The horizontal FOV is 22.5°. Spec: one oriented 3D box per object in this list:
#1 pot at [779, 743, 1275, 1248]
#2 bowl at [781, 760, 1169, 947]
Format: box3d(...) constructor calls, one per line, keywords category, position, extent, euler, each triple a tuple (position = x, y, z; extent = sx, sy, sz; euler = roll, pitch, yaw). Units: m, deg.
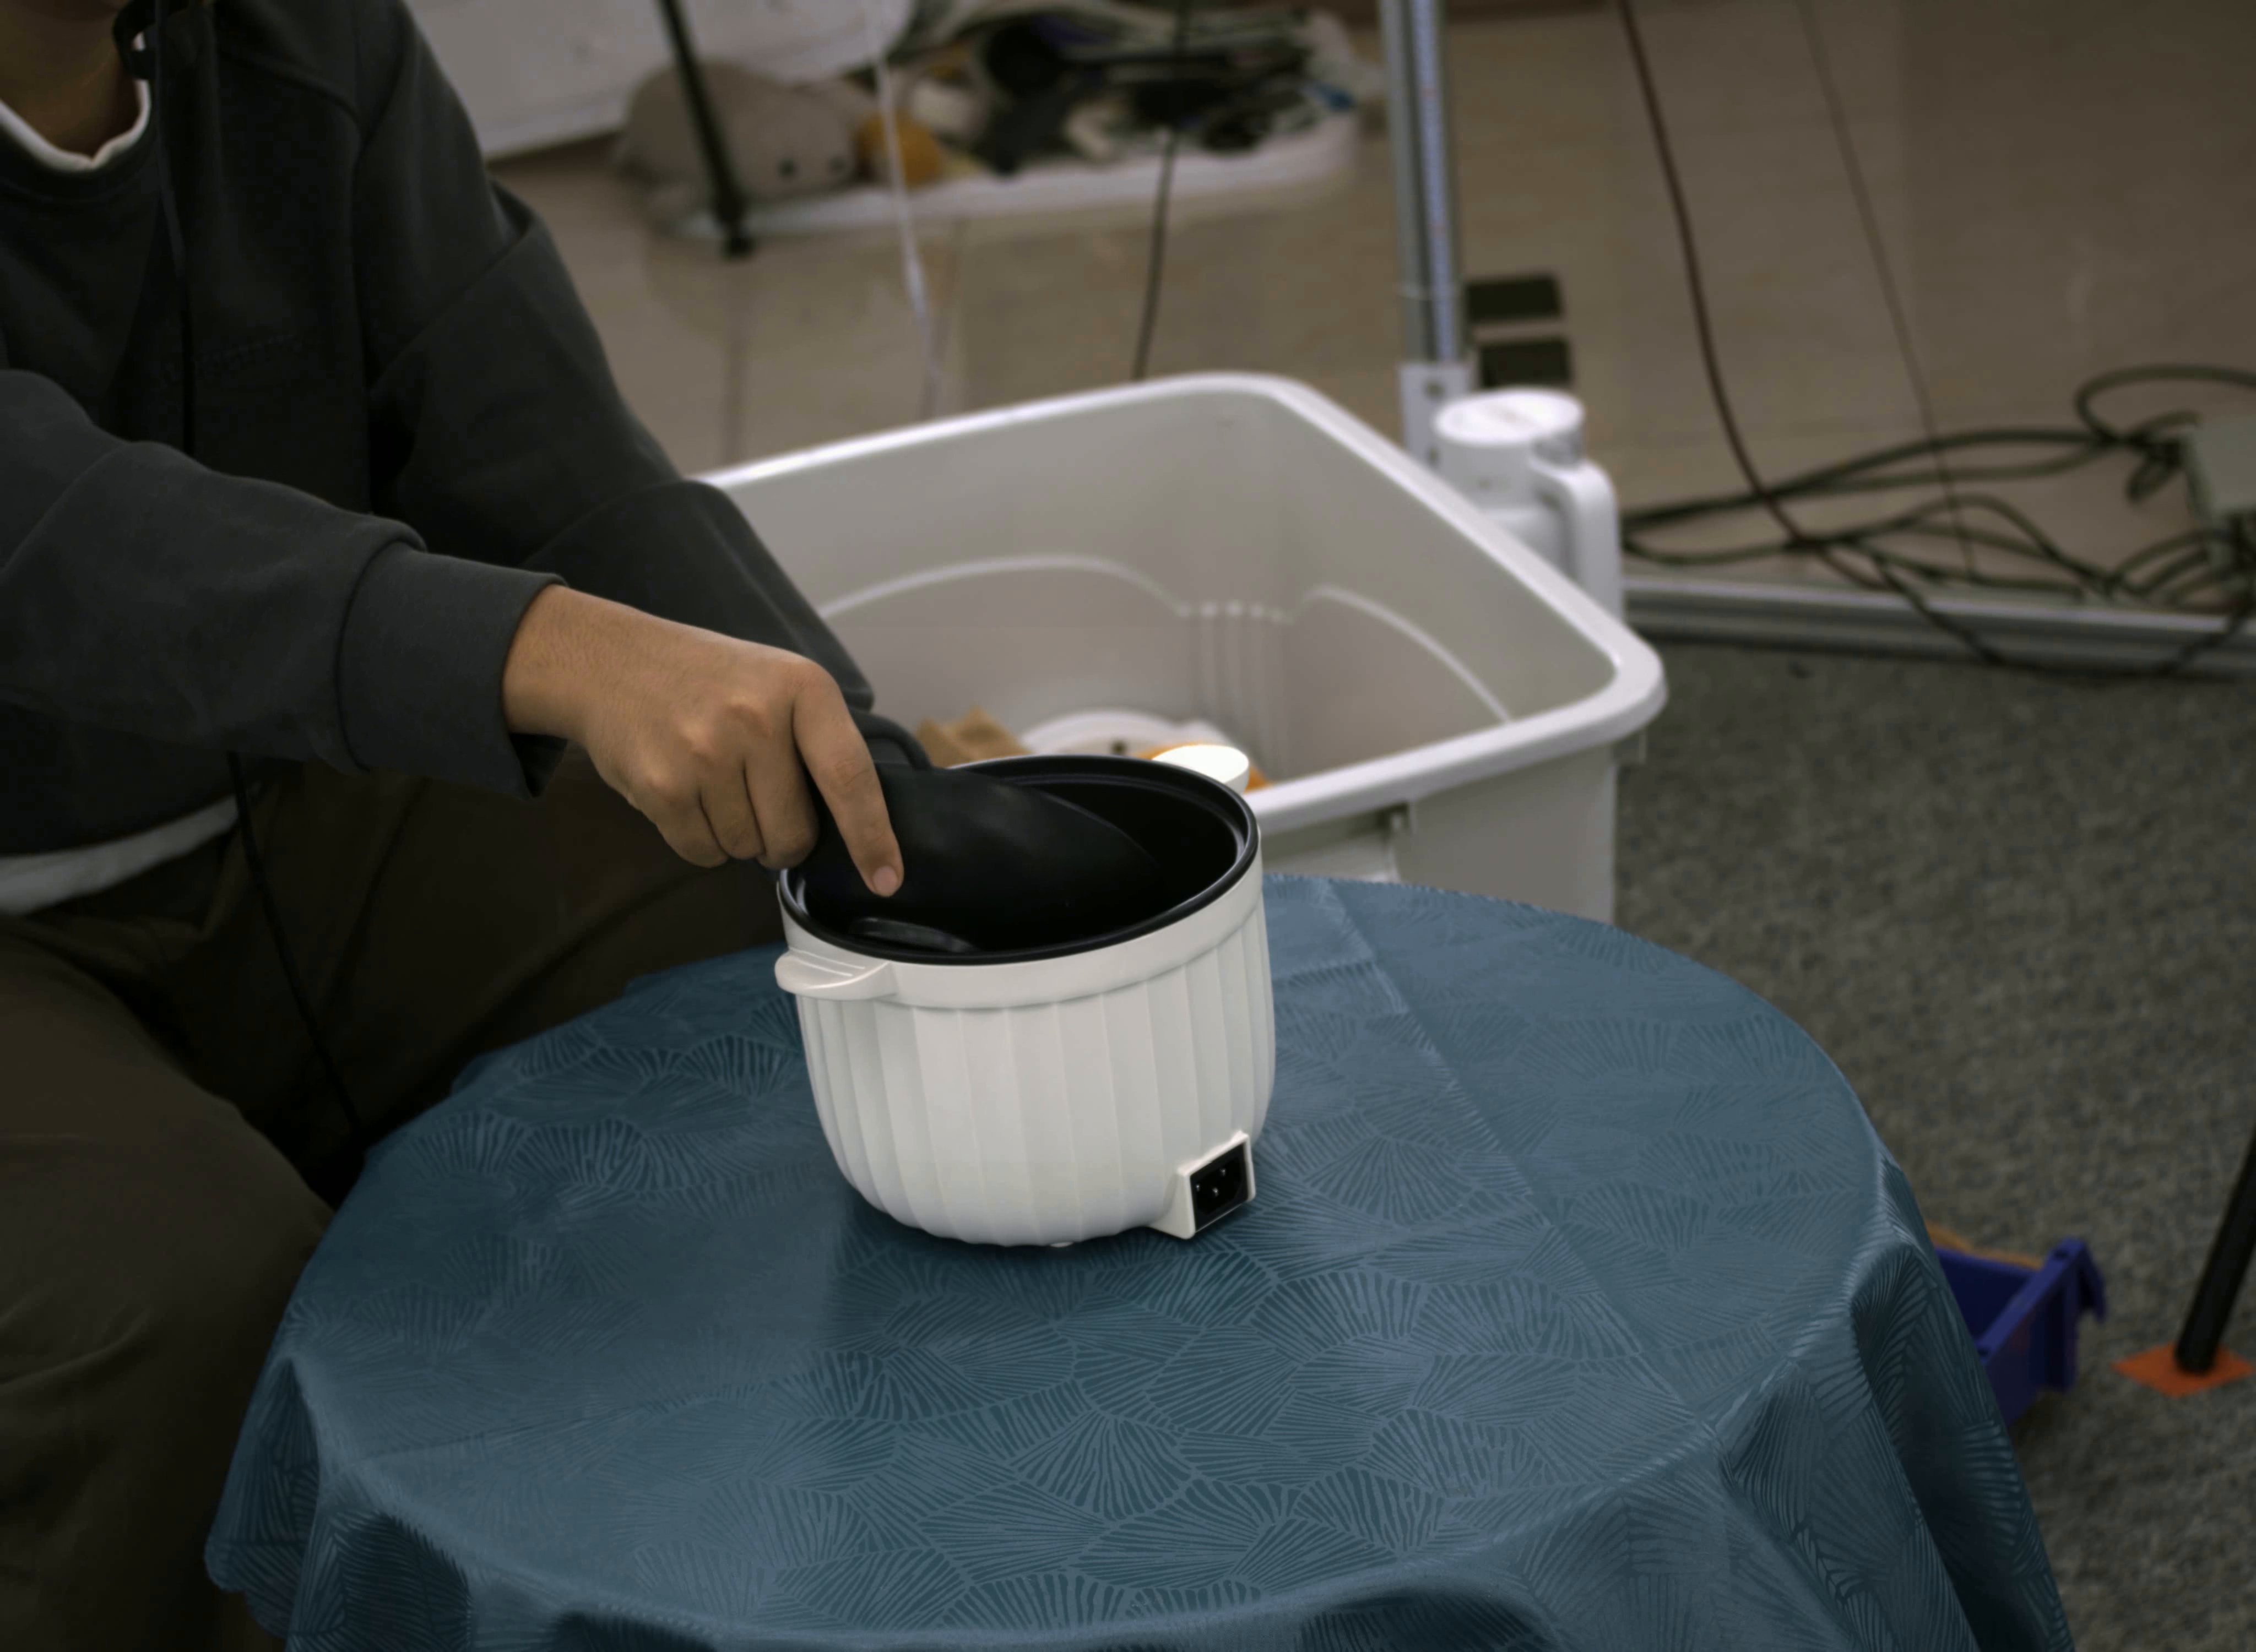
box3d(category="pot", position=(-0.039, 0.069, 2.142), extent=(0.189, 0.145, 0.238), euler=(19, 34, 38))
box3d(category="bowl", position=(-0.063, 0.029, 2.095), extent=(0.137, 0.172, 0.066), euler=(4, 67, 34))
